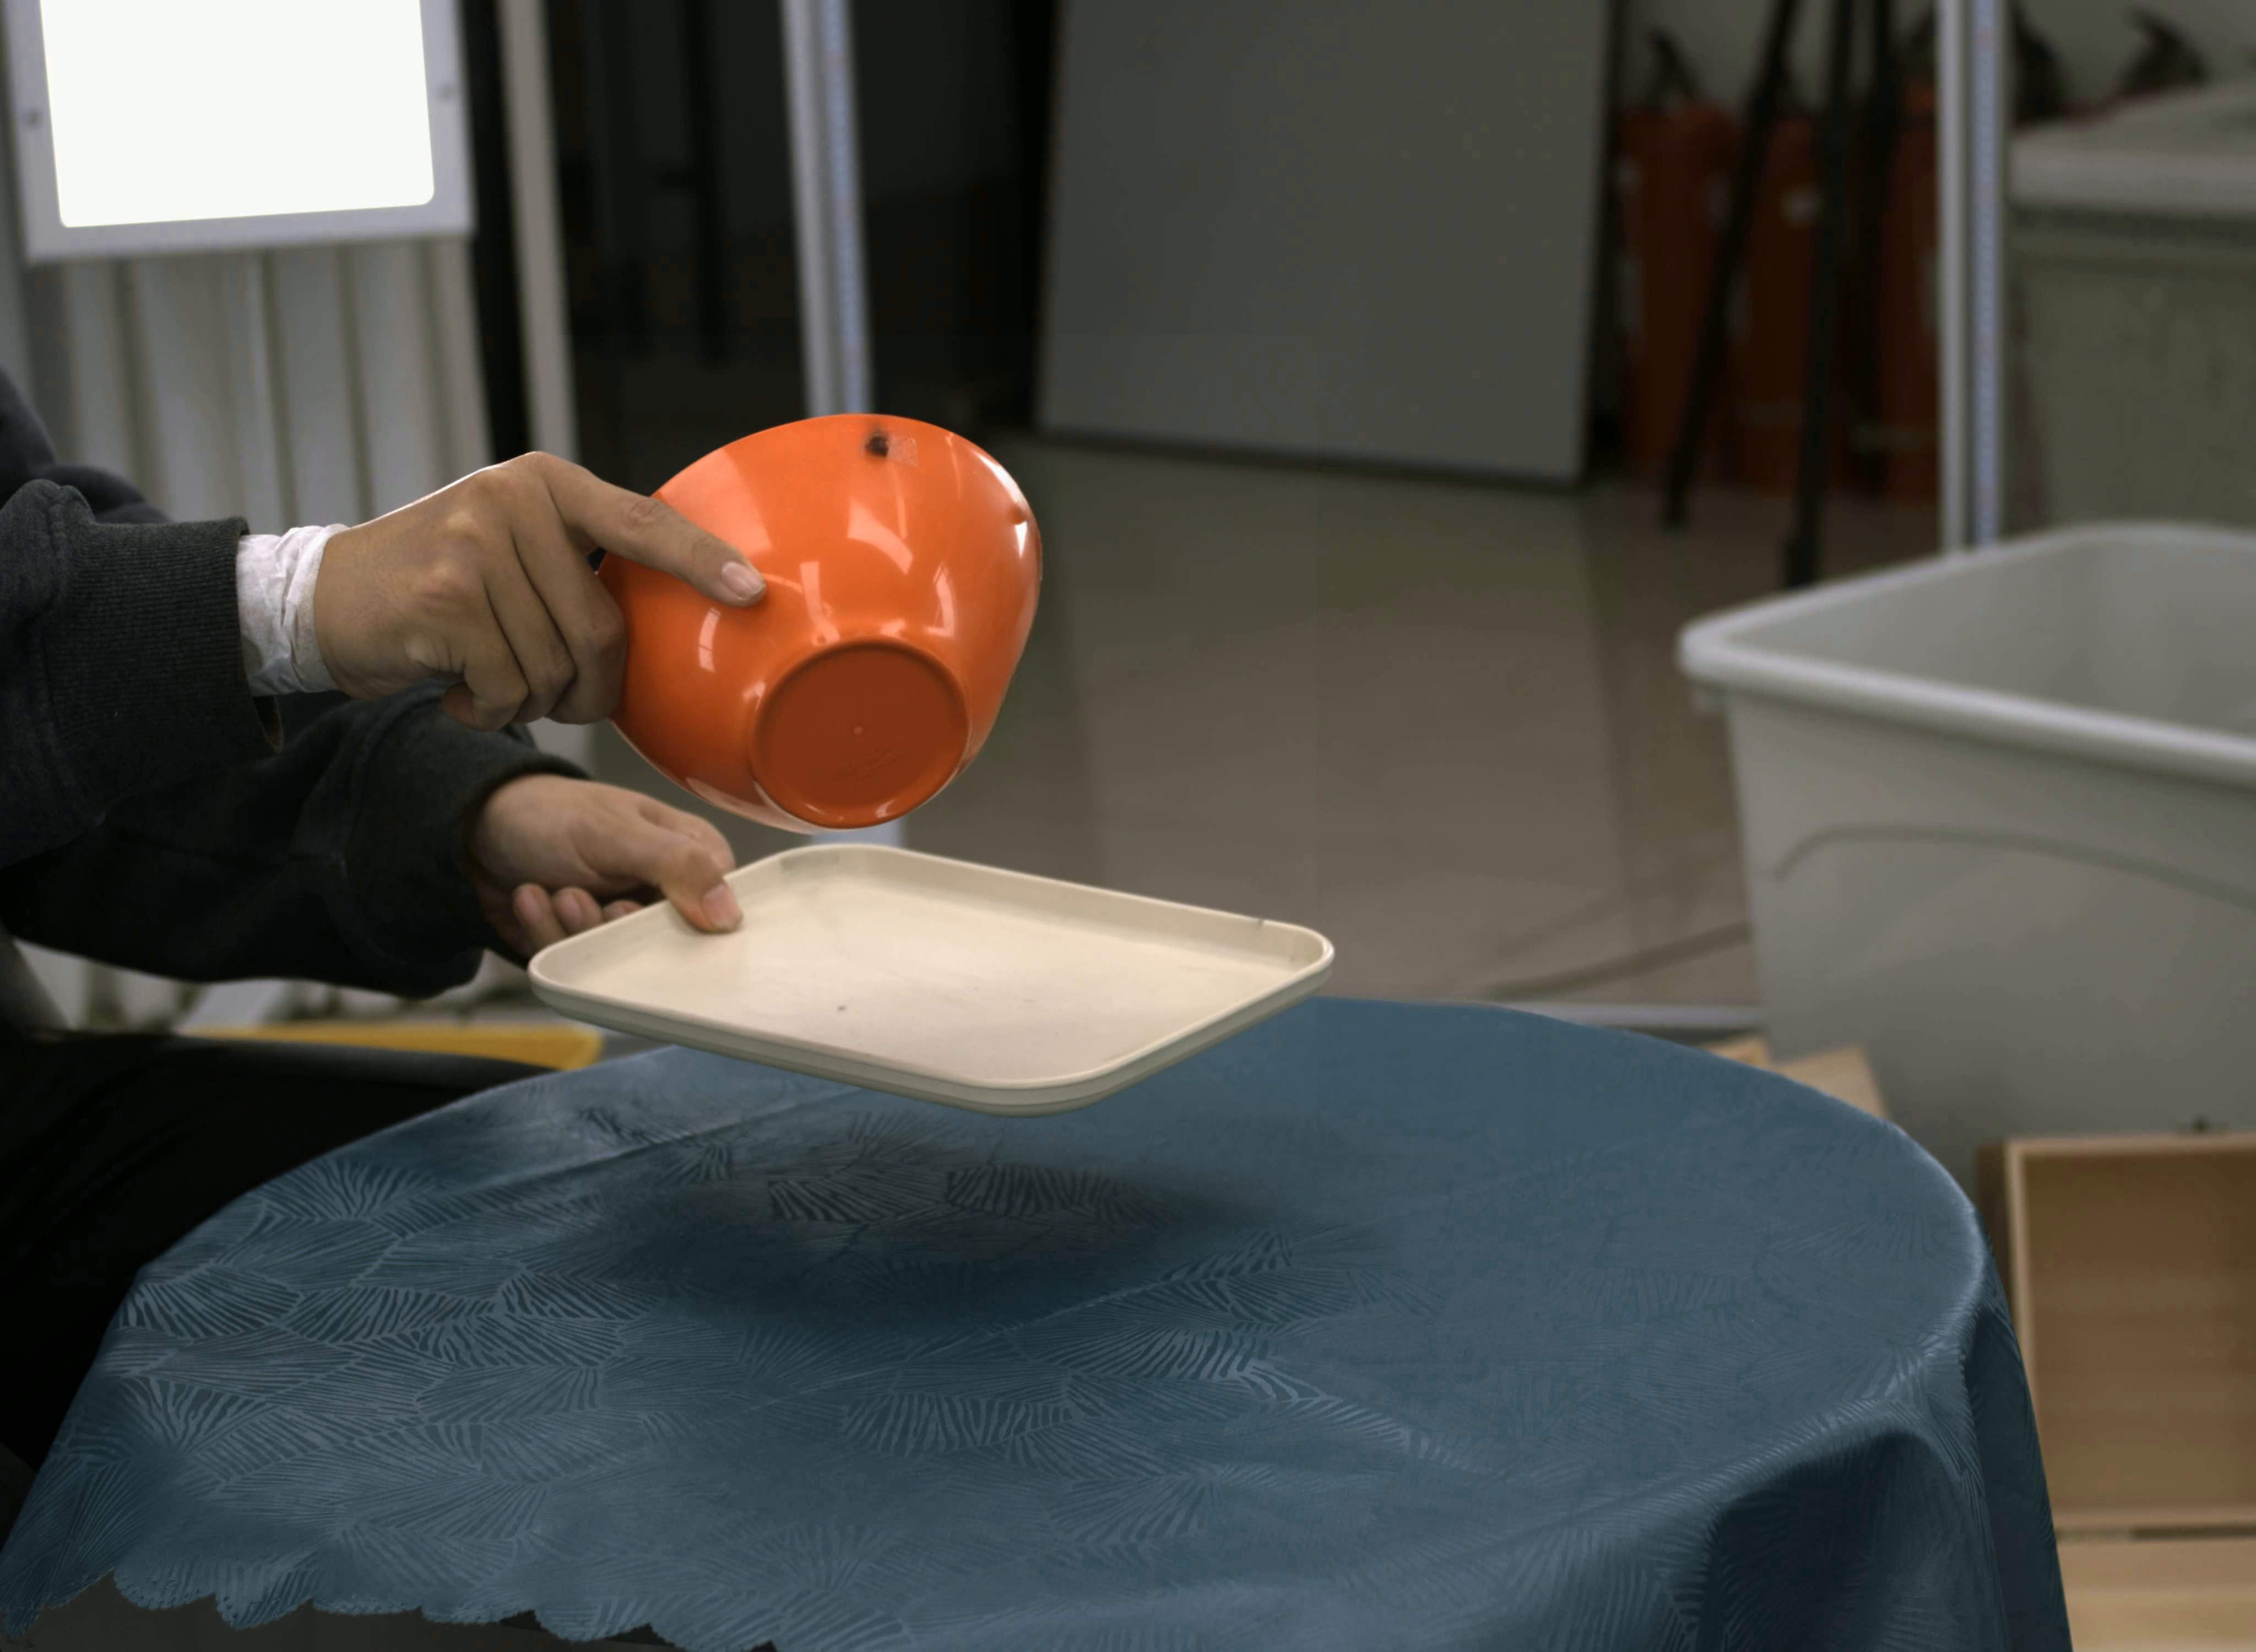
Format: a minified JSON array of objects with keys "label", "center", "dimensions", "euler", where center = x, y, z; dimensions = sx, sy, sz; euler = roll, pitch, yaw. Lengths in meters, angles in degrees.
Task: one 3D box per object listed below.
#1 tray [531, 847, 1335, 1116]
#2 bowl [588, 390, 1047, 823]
[{"label":"tray","center":[-0.064,0.050,1.757],"dimensions":[0.241,0.017,0.168],"euler":[9,22,38]},{"label":"bowl","center":[-0.085,-0.050,1.627],"dimensions":[0.145,0.149,0.105],"euler":[-6,33,-12]}]
